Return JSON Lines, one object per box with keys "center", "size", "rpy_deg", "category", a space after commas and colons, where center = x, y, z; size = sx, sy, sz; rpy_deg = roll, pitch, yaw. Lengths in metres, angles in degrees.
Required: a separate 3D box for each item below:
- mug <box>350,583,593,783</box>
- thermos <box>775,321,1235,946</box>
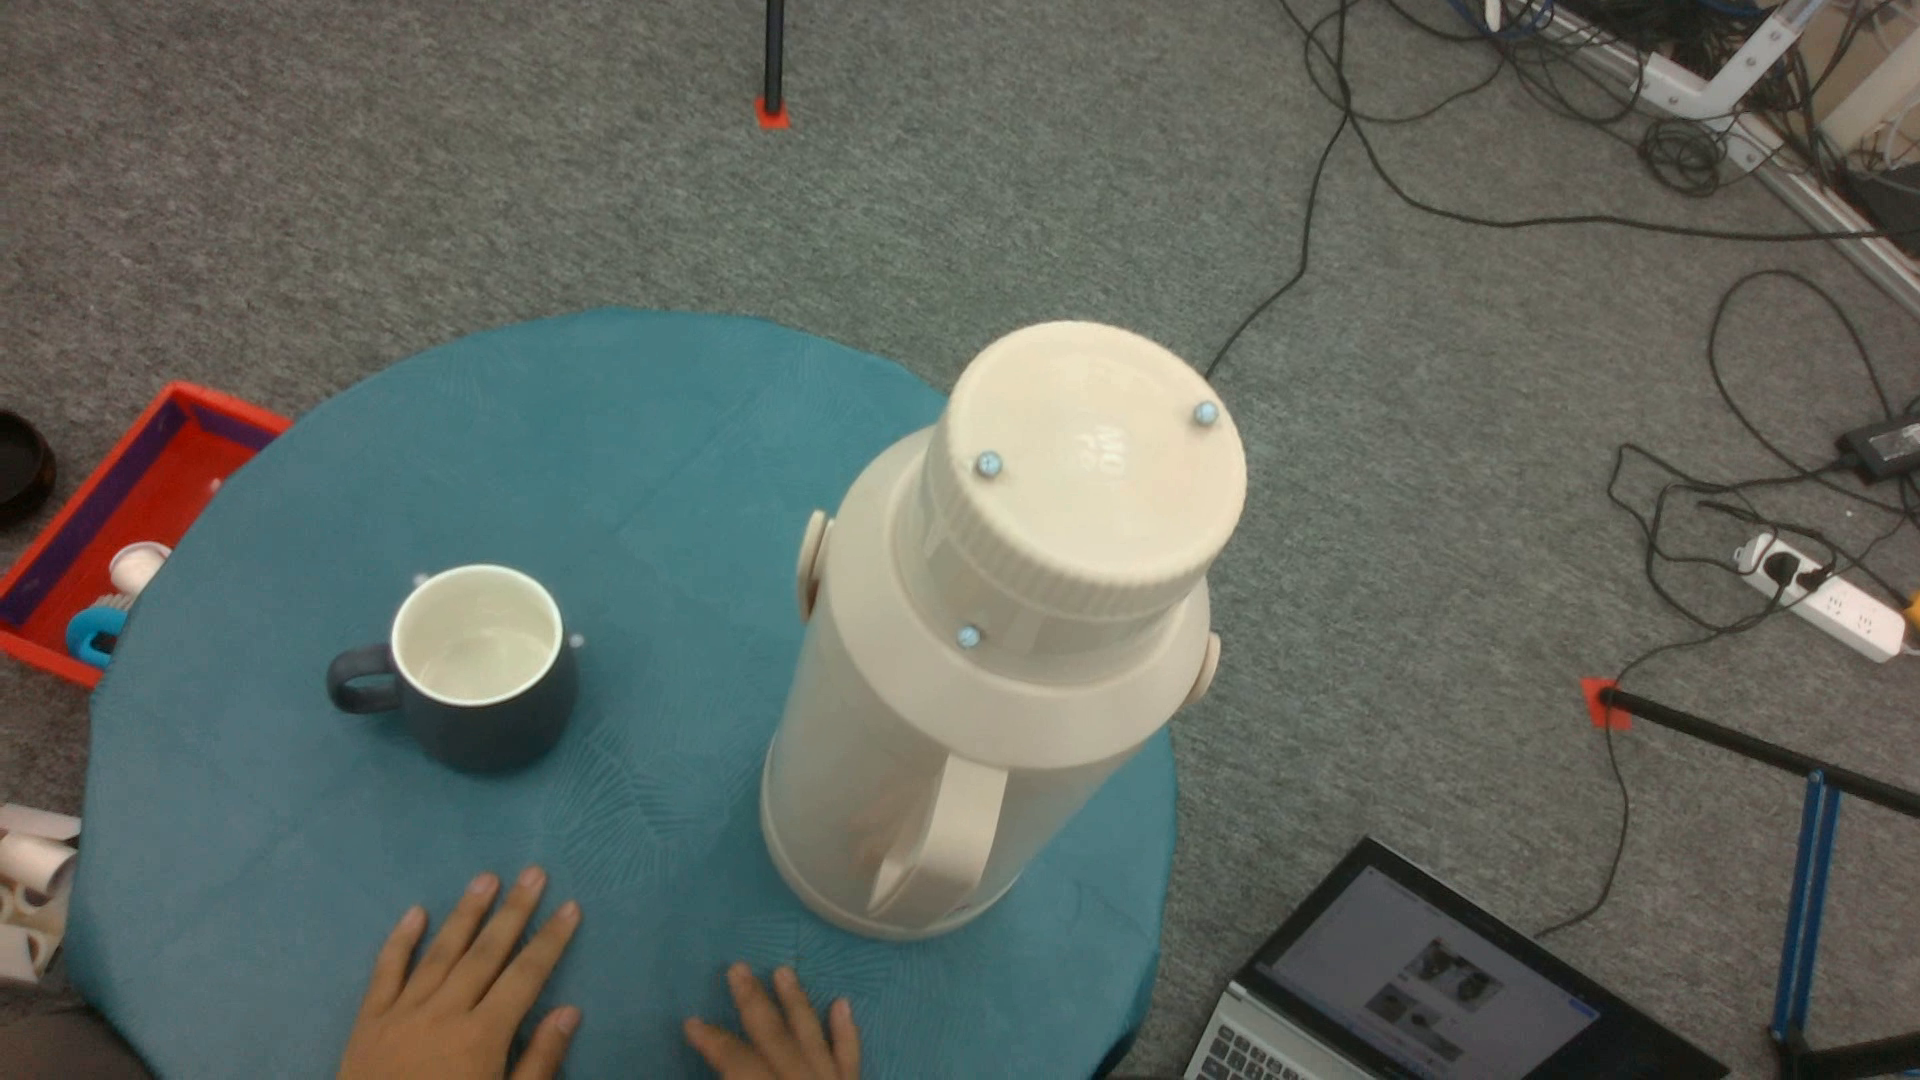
{"center": [-0.263, 0.079, 0.744], "size": [0.123, 0.089, 0.094], "rpy_deg": [-7, 63, -16], "category": "mug"}
{"center": [0.003, 0.075, 0.629], "size": [0.175, 0.404, 0.208], "rpy_deg": [15, 59, -5], "category": "thermos"}
